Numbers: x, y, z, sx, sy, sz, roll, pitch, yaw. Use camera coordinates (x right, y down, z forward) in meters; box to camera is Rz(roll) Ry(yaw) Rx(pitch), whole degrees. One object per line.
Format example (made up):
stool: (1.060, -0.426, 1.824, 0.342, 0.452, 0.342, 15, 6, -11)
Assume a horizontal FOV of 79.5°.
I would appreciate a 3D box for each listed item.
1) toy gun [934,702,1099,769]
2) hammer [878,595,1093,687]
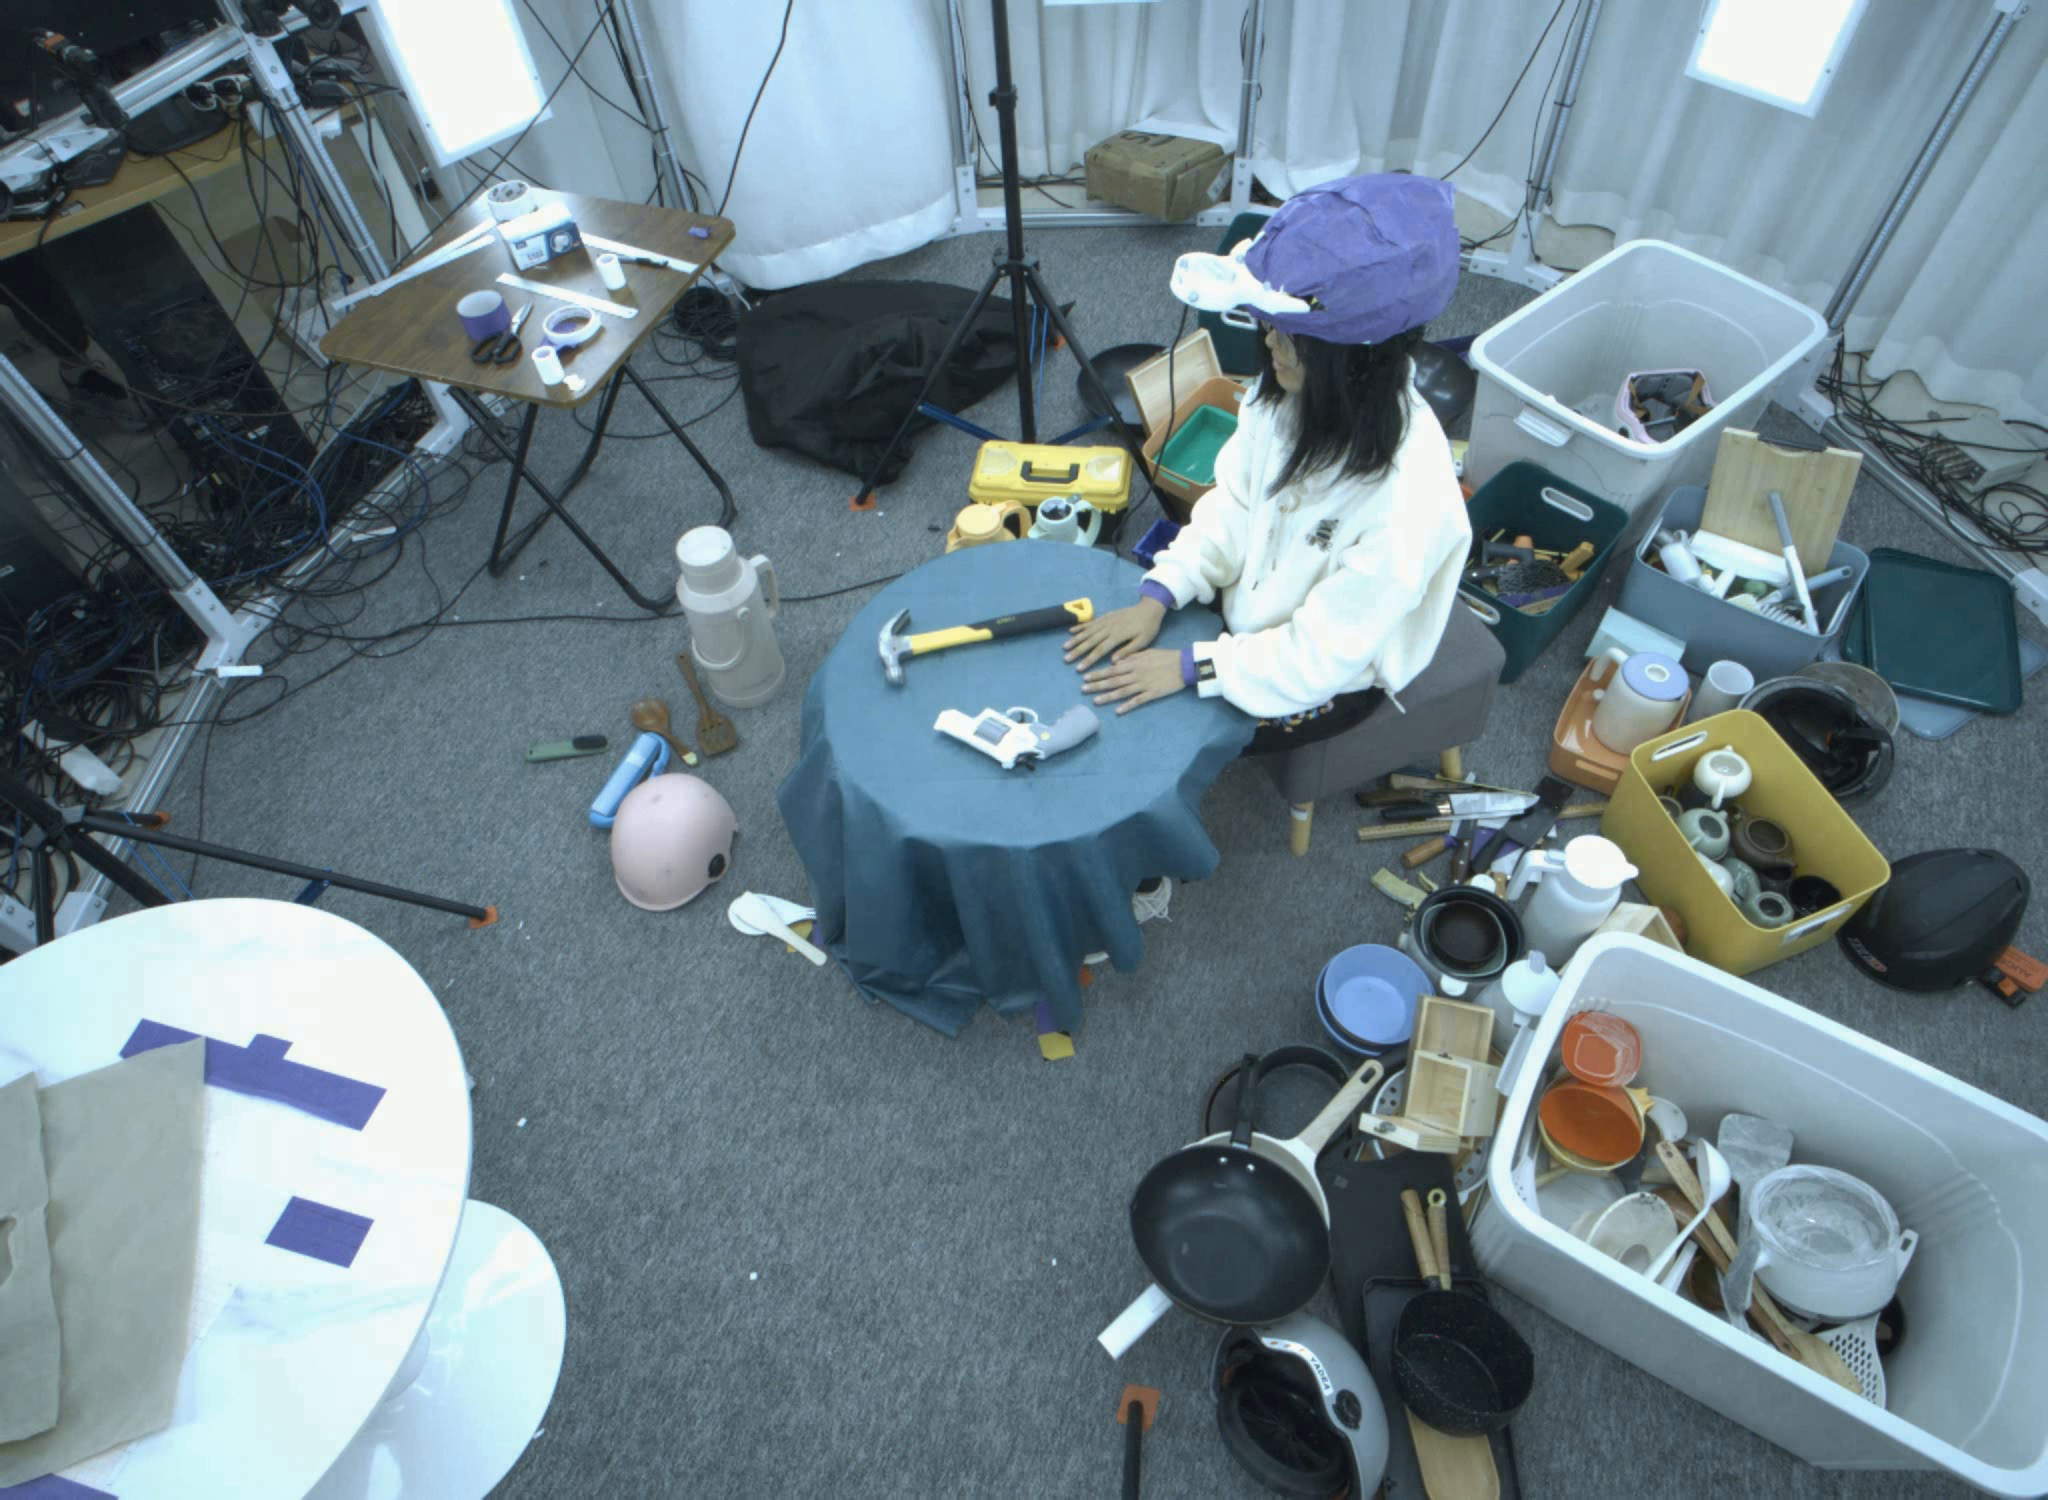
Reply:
toy gun: (-0.011, -0.038, 1.791, 0.206, 0.039, 0.142, 25, 61, 19)
hammer: (-0.059, -0.189, 1.901, 0.340, 0.032, 0.129, -13, 53, -6)
